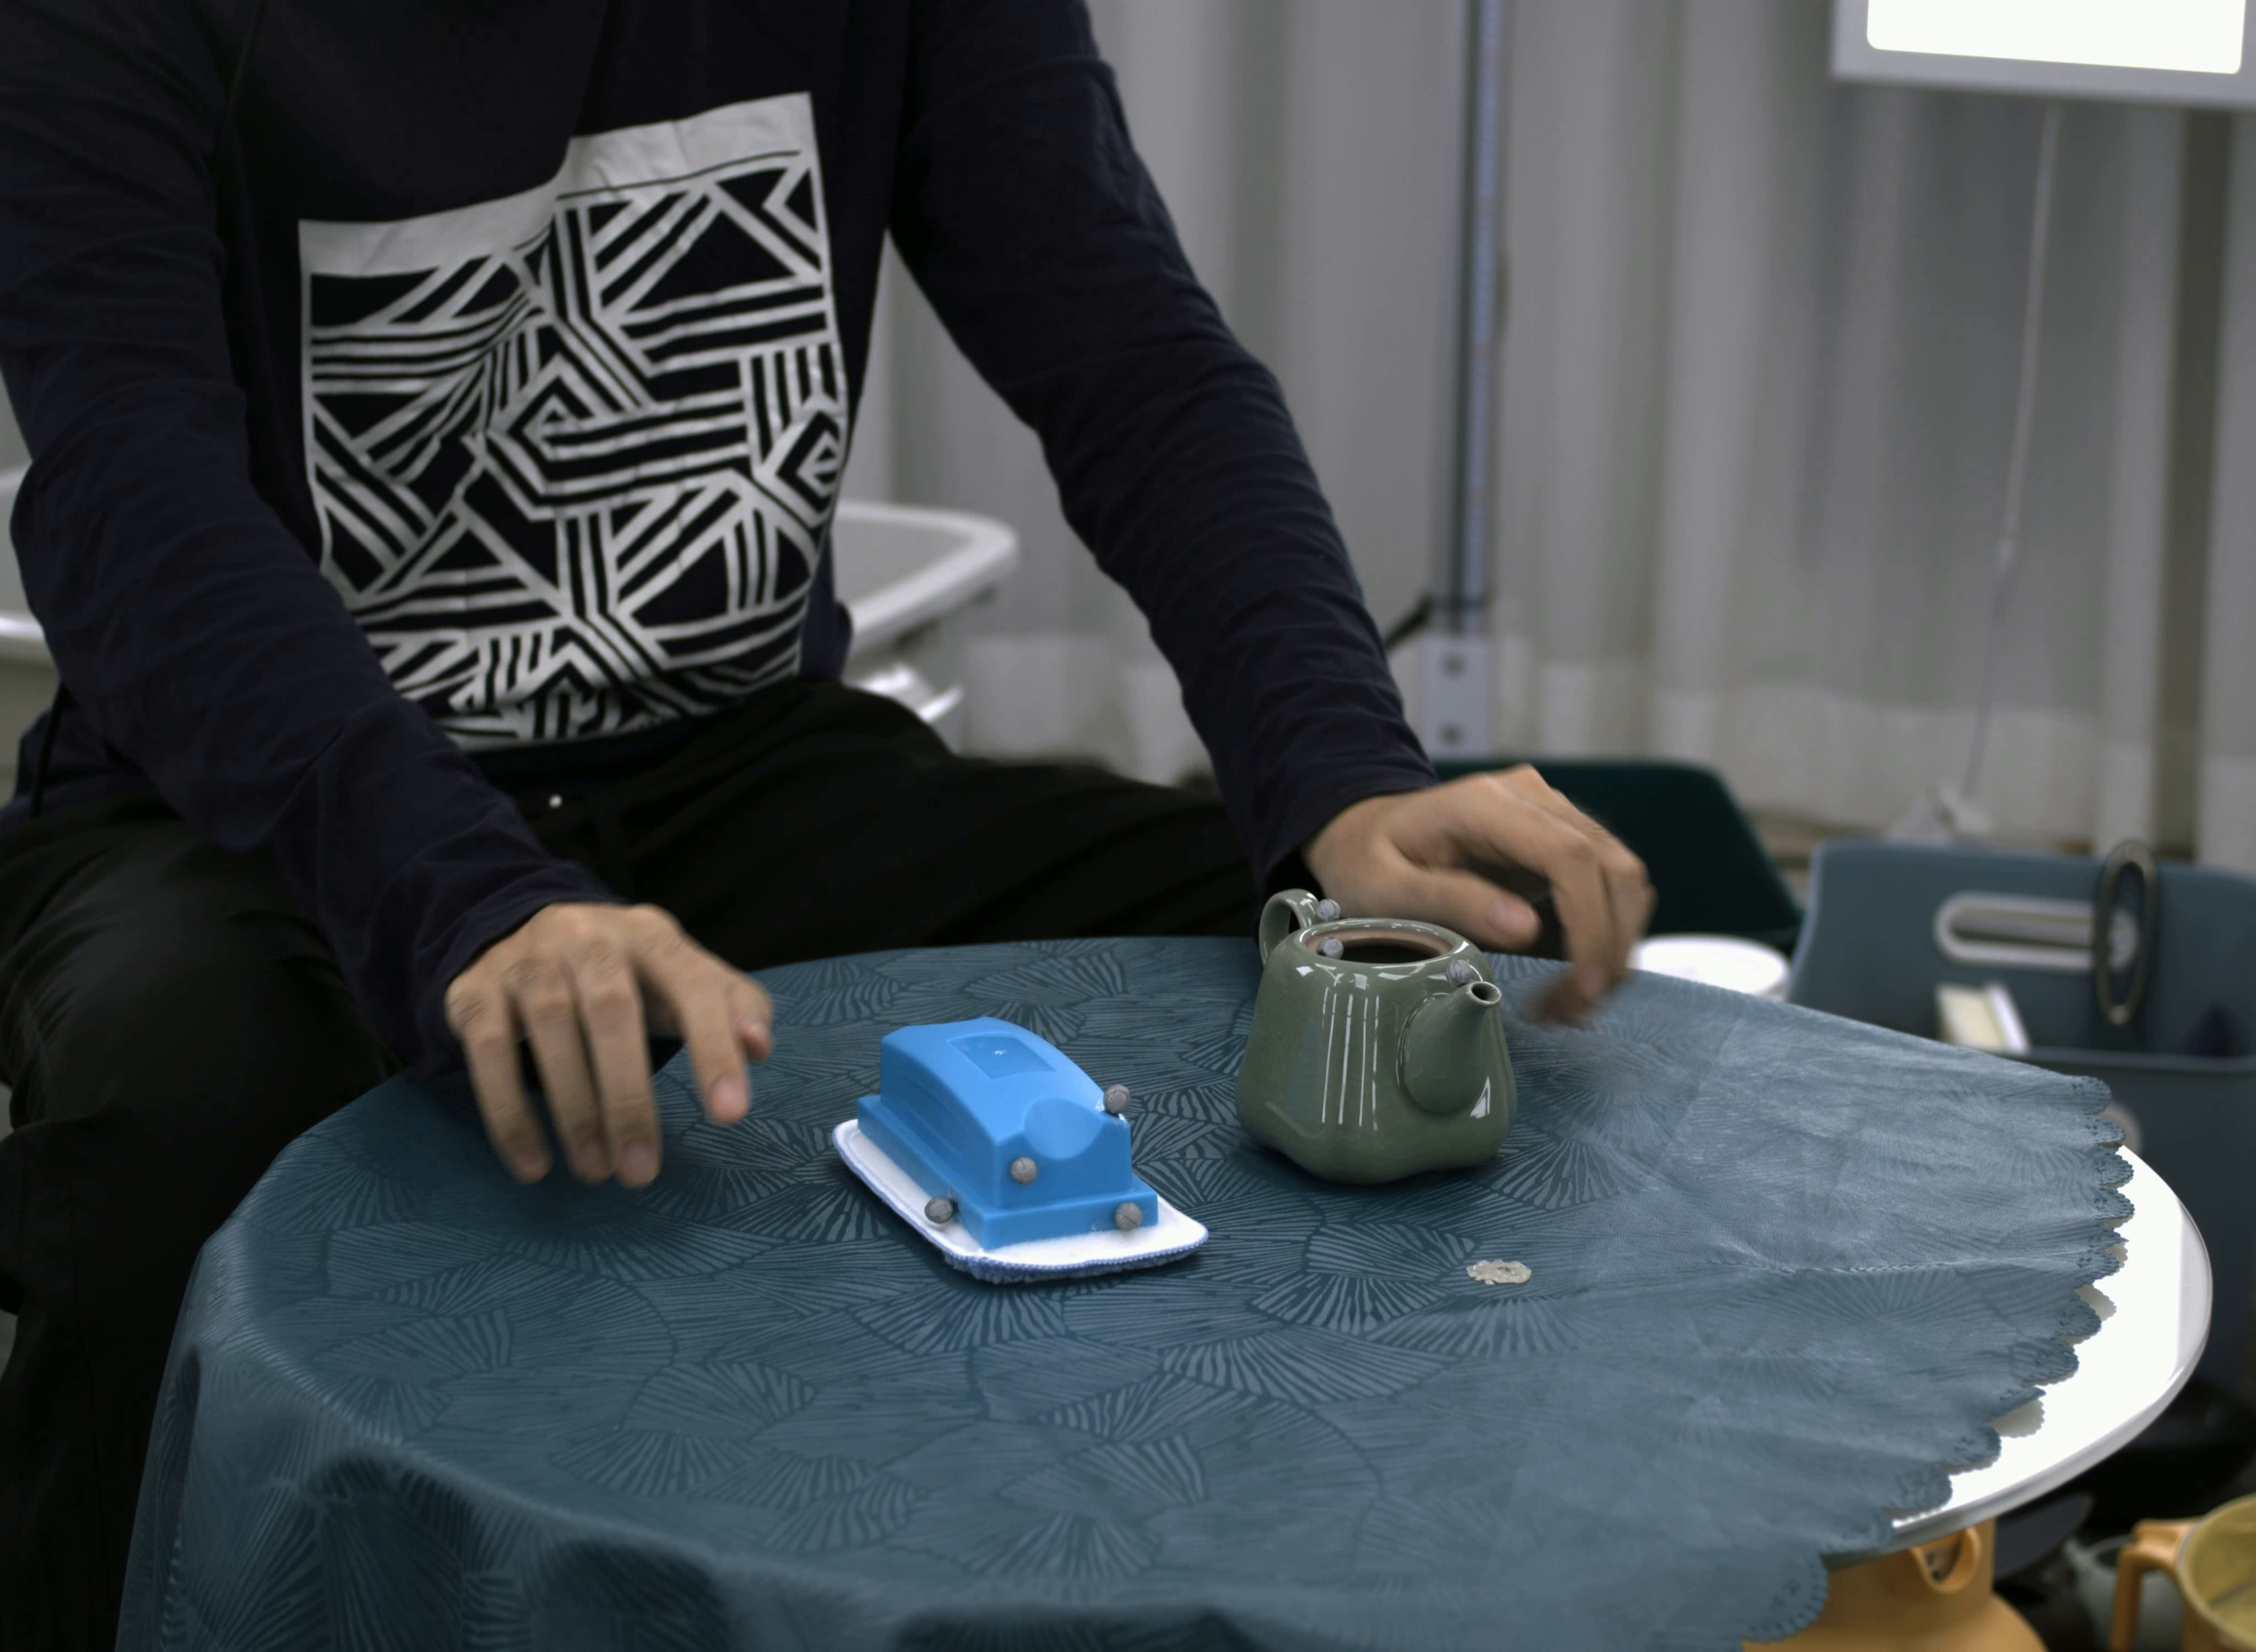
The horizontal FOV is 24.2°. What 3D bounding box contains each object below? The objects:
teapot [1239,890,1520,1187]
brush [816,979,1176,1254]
[{"bbox_3d":[0.079,0.068,1.652,0.080,0.076,0.131,-9,17,-28],"label":"teapot"},{"bbox_3d":[-0.039,0.086,1.604,0.084,0.056,0.142,-1,19,-20],"label":"brush"}]
